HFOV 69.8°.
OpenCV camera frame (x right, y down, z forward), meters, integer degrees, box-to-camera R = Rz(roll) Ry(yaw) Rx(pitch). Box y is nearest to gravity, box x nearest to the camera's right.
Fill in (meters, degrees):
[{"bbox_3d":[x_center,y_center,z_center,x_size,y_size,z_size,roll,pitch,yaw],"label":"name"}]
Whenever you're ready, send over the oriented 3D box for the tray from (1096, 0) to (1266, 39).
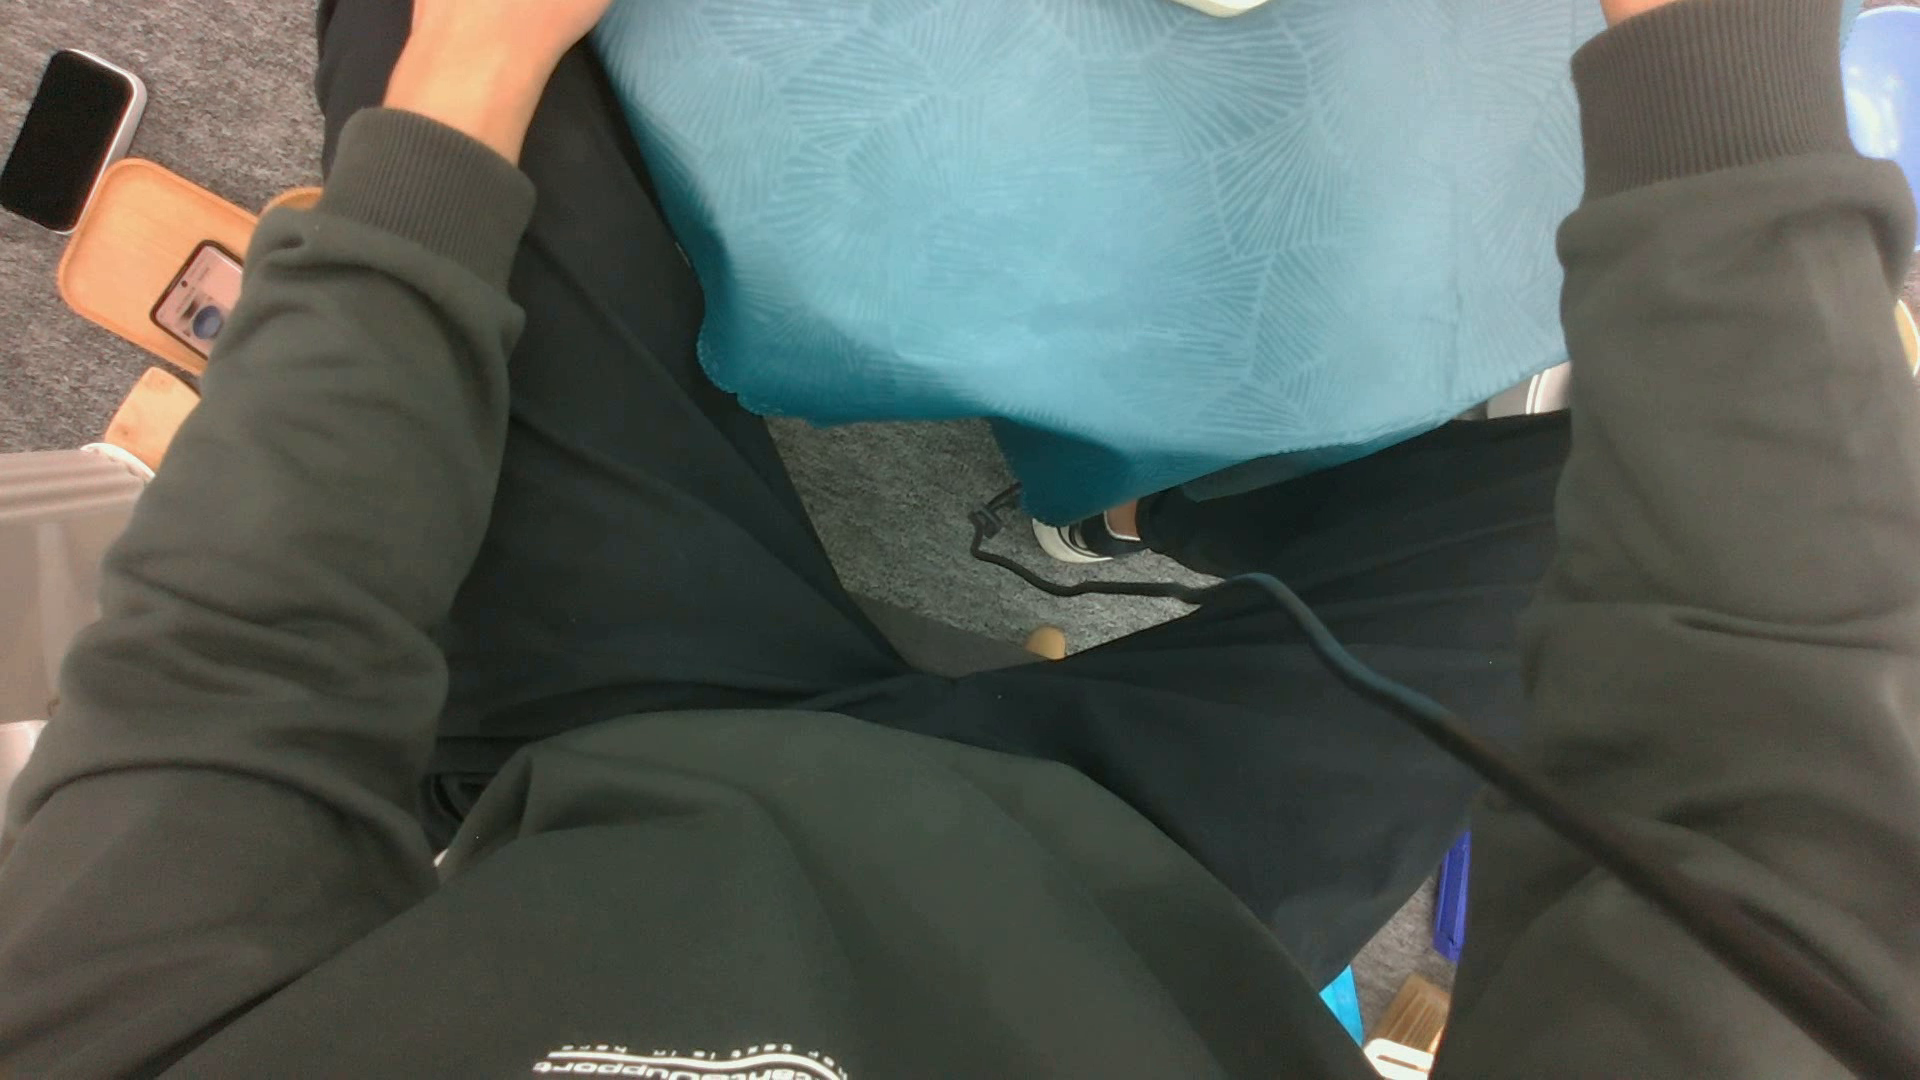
[{"bbox_3d":[0.004,-0.336,0.549,0.300,0.027,0.191,15,97,-9],"label":"tray"}]
